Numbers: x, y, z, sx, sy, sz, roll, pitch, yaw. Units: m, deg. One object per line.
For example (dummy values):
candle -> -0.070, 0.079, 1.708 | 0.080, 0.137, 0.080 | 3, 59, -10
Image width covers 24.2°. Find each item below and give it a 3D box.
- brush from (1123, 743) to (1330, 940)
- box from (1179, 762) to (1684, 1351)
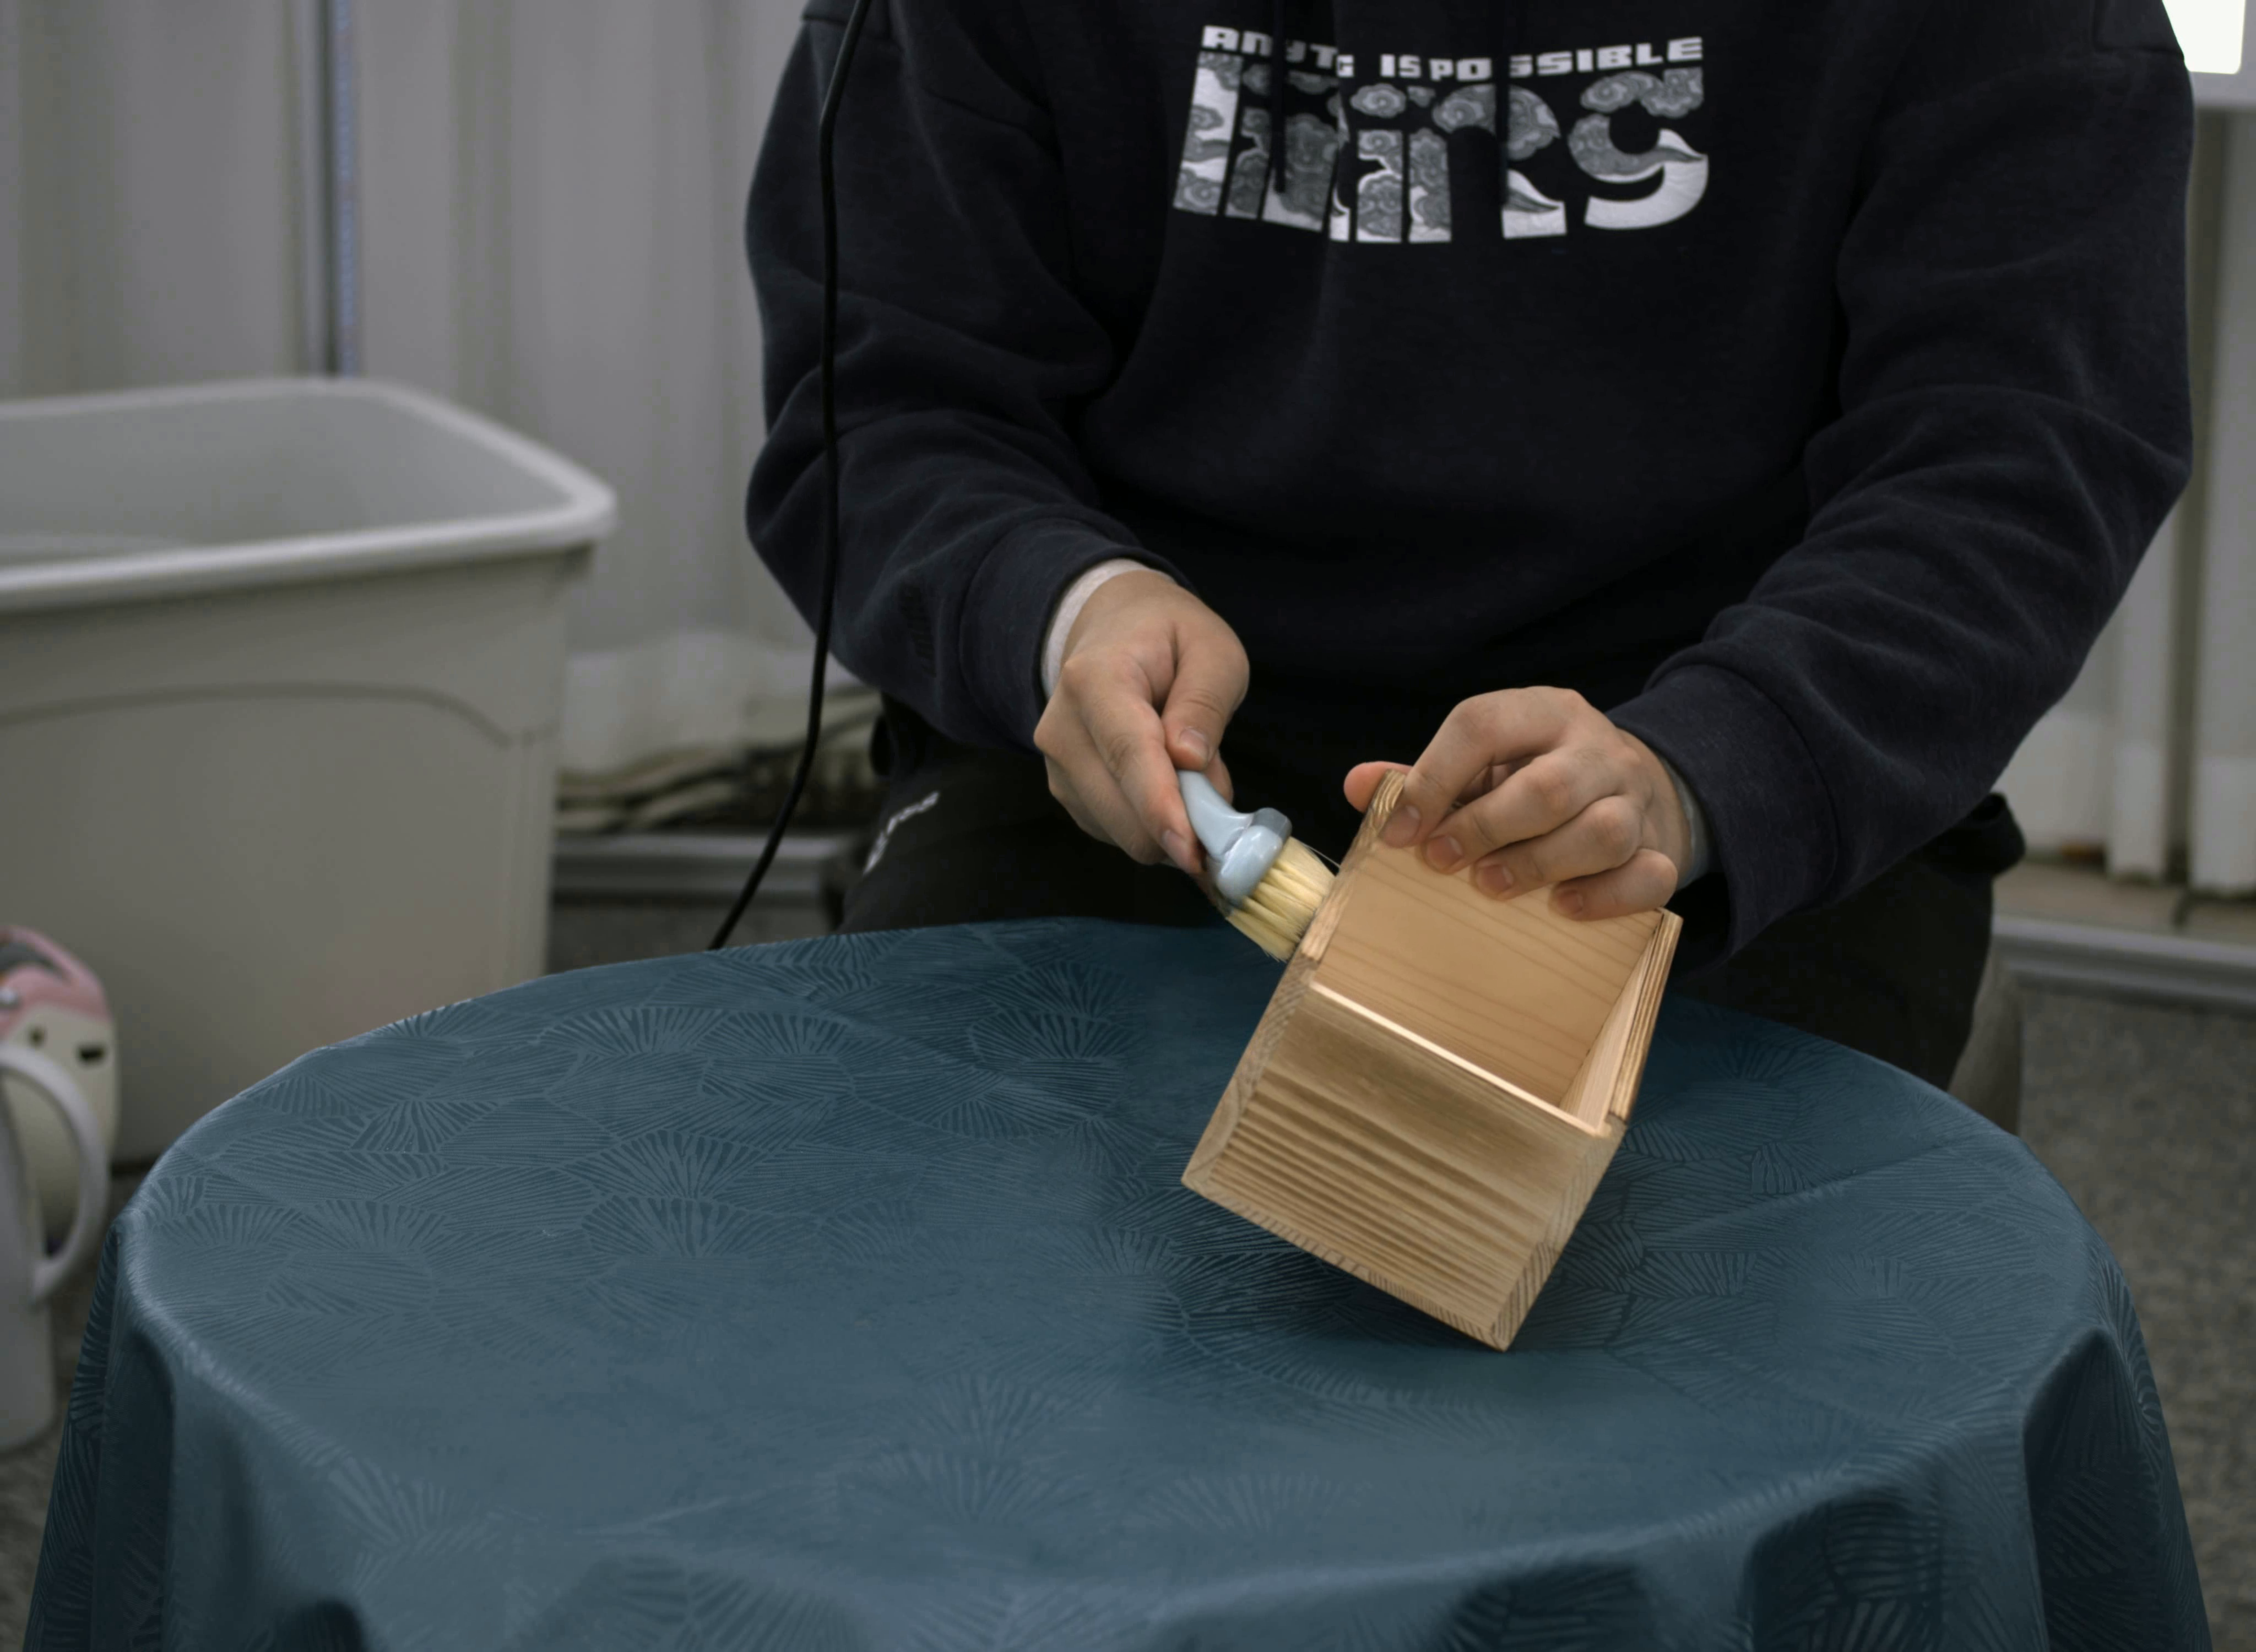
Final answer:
brush -> 0.031, 0.003, 1.722 | 0.050, 0.038, 0.227 | 27, 5, -12
box -> 0.095, 0.065, 1.584 | 0.107, 0.080, 0.211 | 28, 19, 1
